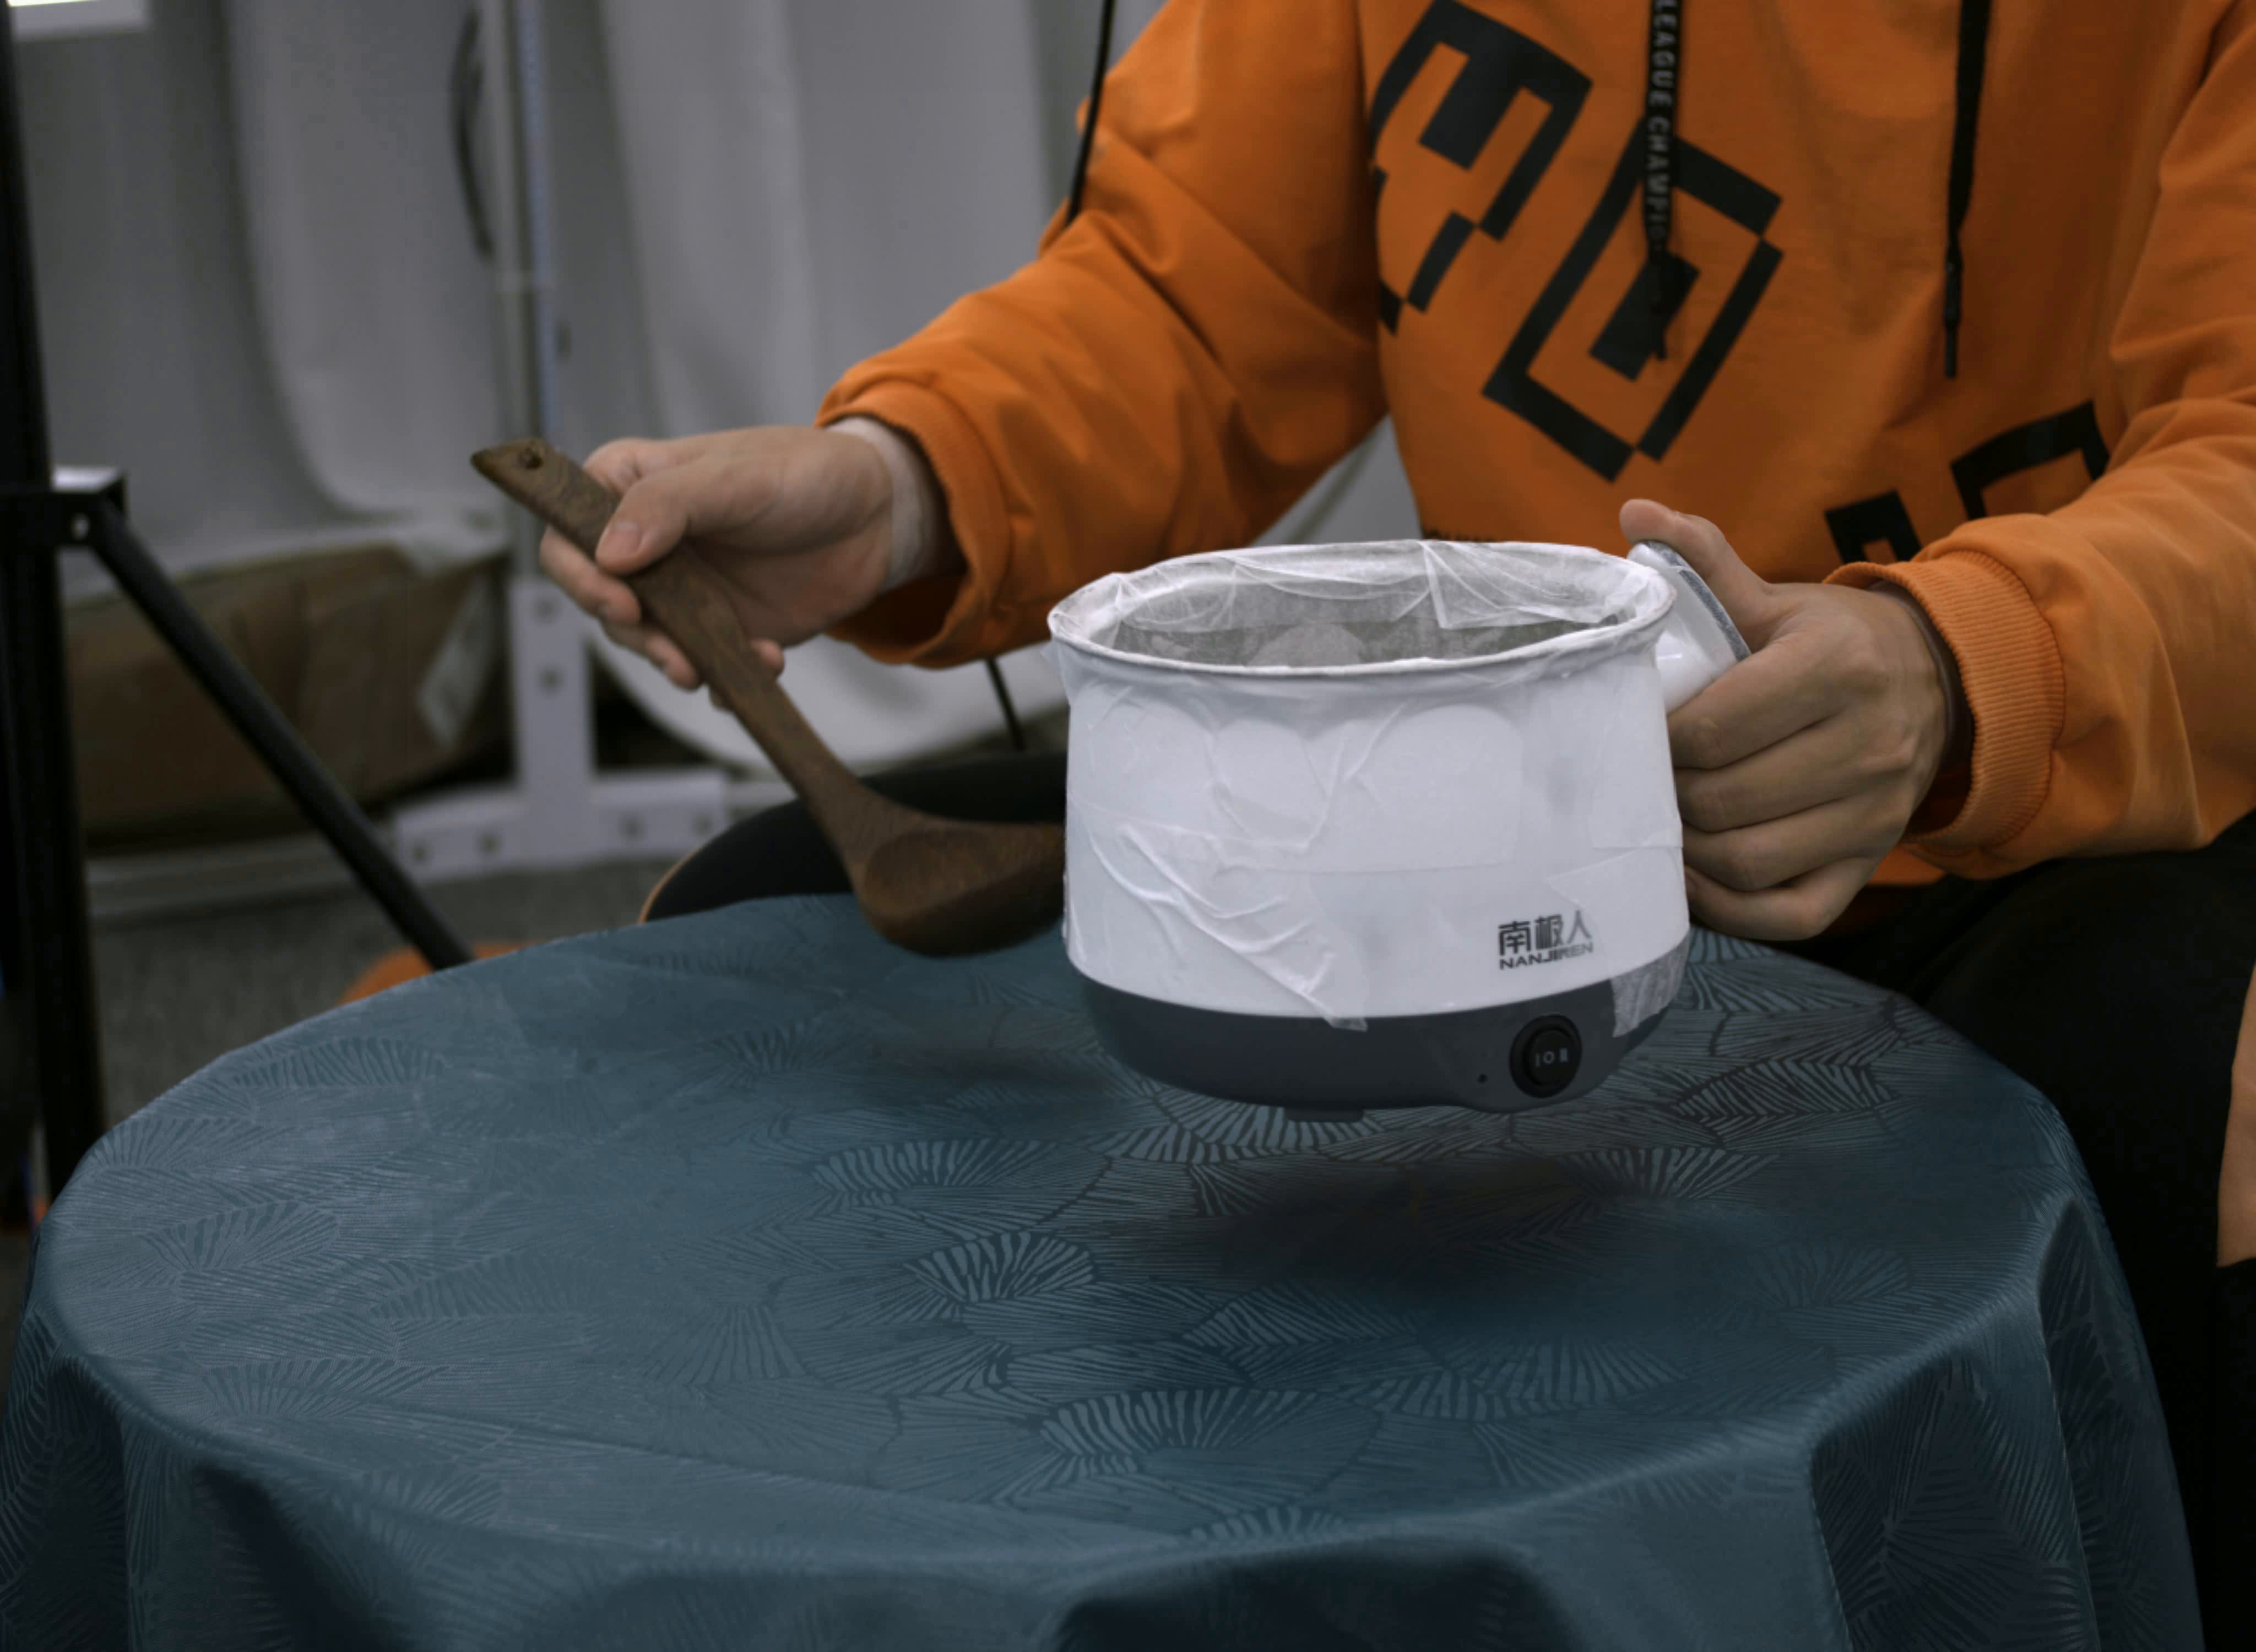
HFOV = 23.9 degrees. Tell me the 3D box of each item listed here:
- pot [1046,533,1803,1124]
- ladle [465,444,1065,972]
[{"bbox_3d":[0.091,-0.006,1.511,0.228,0.136,0.182,-11,16,-29],"label":"pot"},{"bbox_3d":[-0.118,-0.052,1.714,0.074,0.071,0.279,-23,60,-38],"label":"ladle"}]
